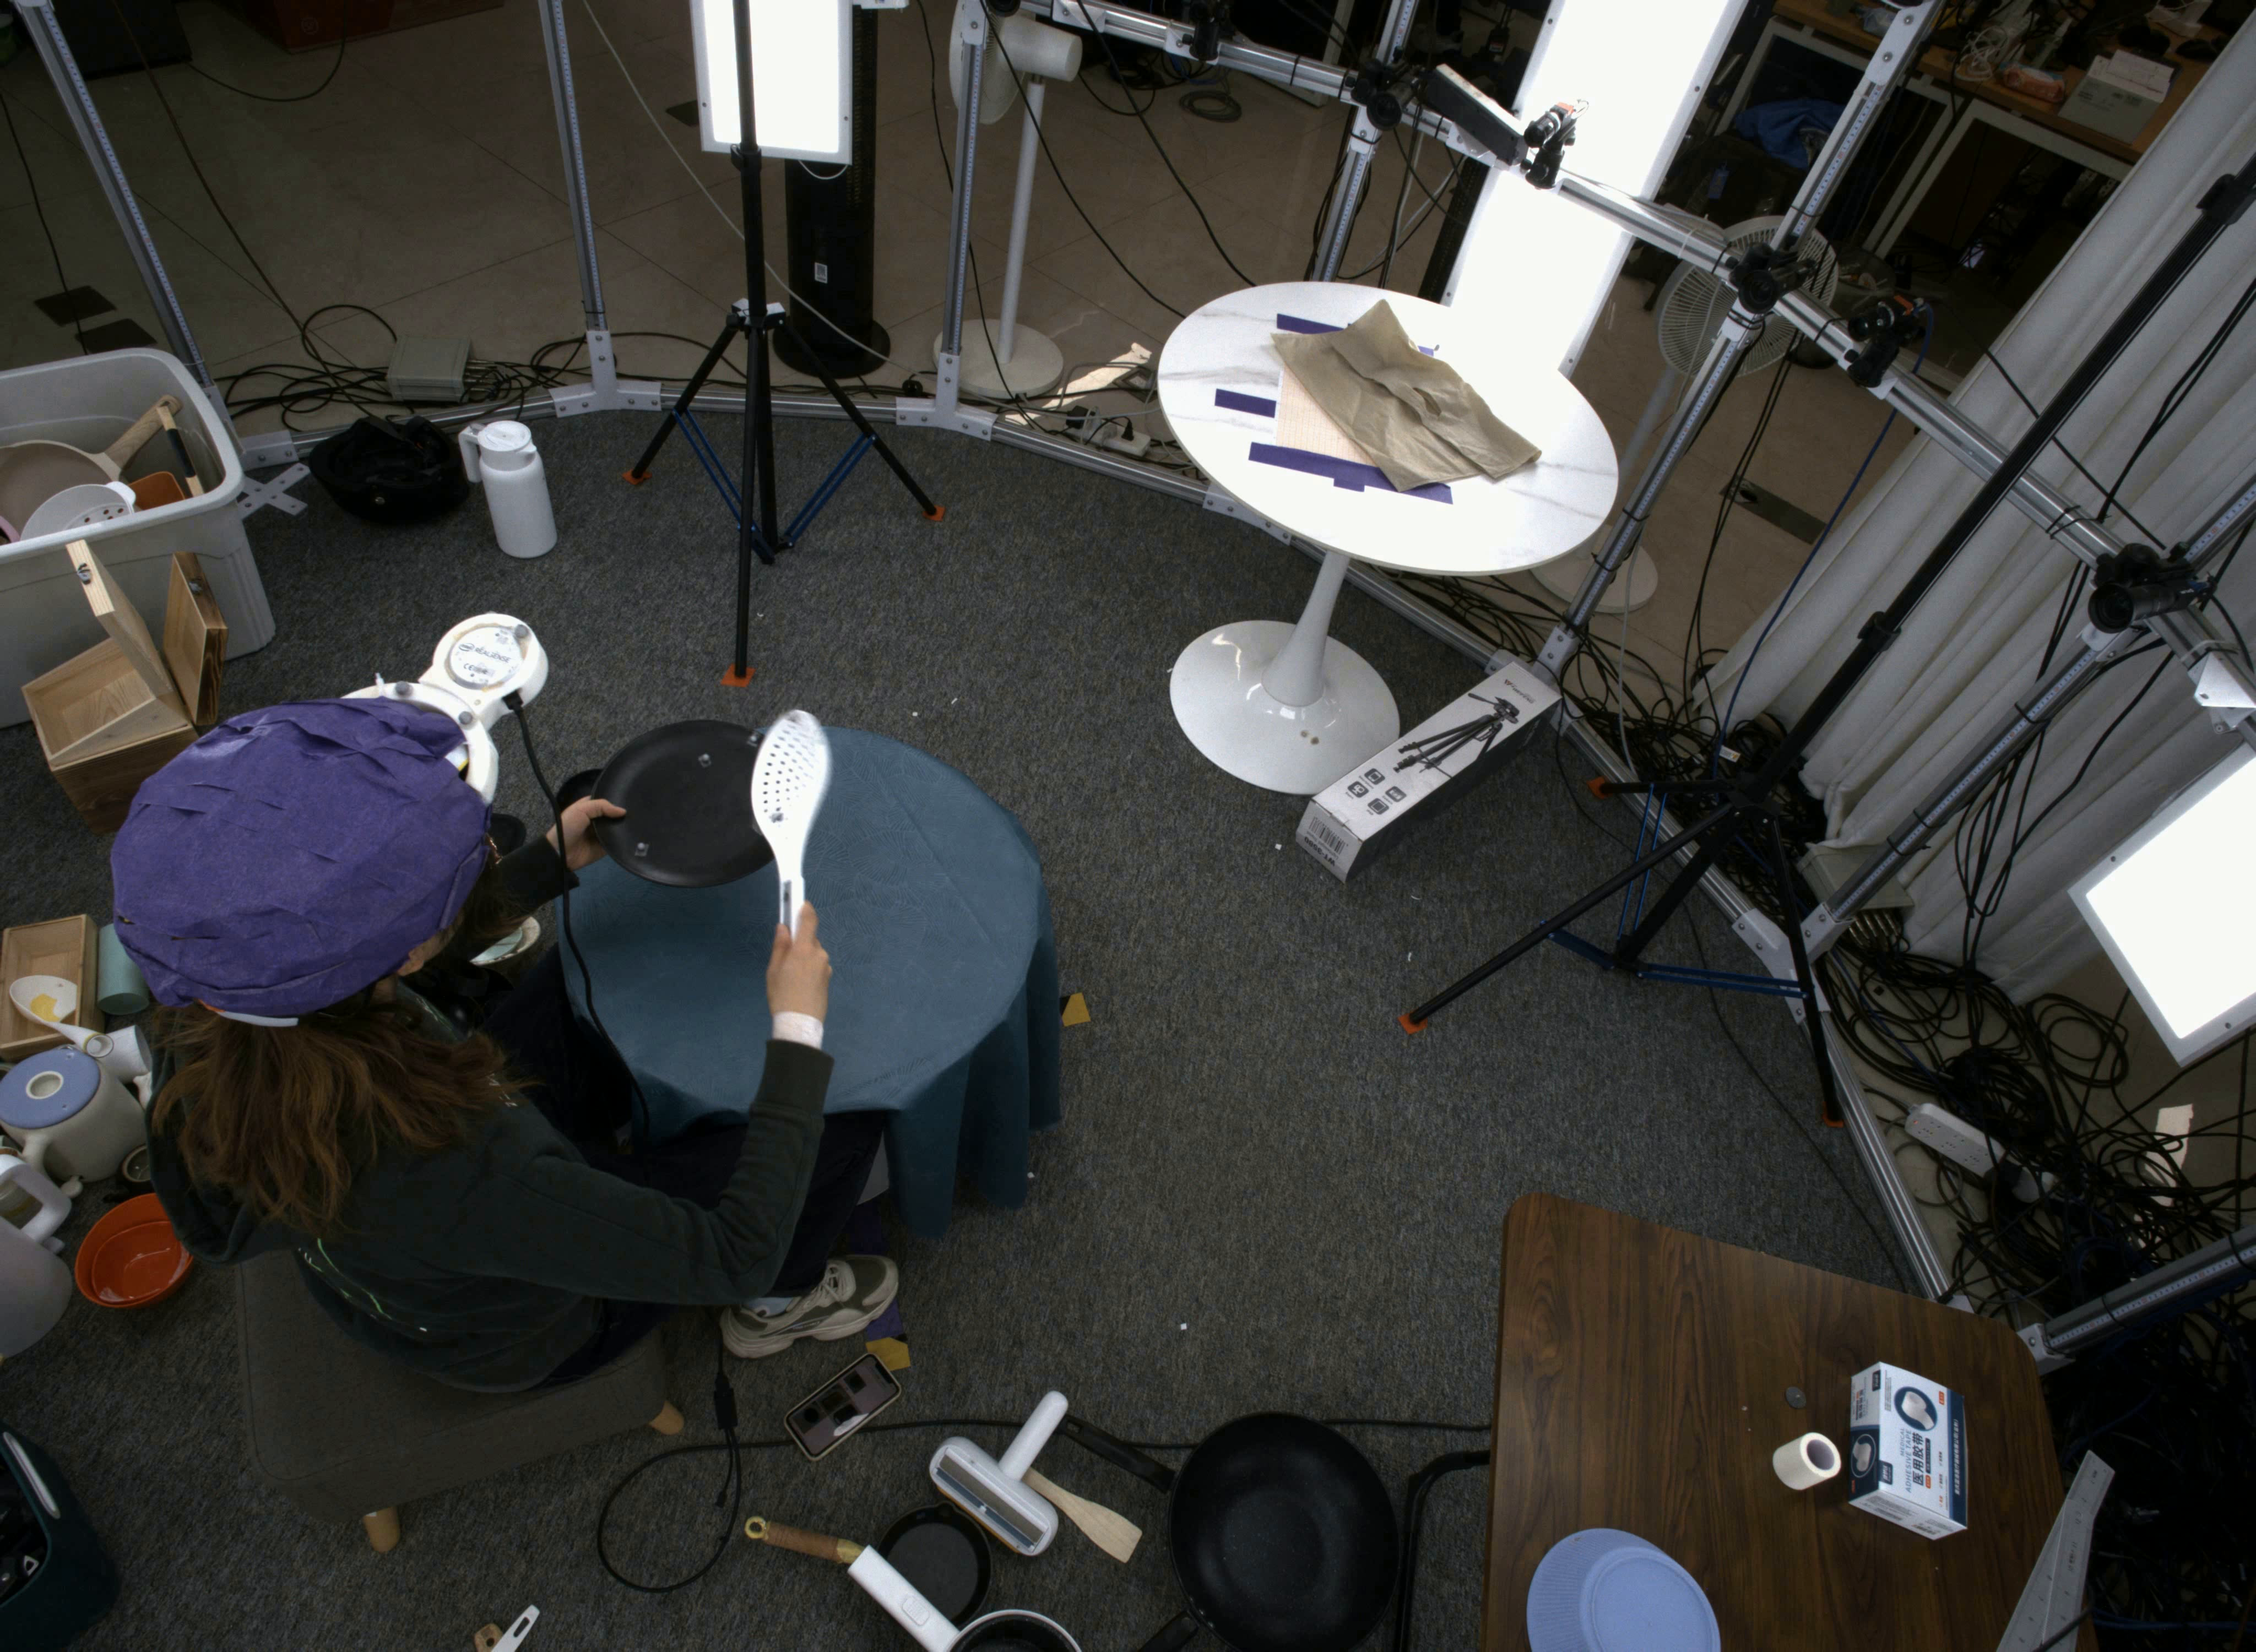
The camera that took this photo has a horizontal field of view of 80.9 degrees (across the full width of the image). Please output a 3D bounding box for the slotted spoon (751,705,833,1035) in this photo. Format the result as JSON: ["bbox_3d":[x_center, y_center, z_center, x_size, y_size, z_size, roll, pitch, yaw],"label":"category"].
[{"bbox_3d":[-0.351,0.040,1.350,0.047,0.133,0.346,24,57,-46],"label":"slotted spoon"}]

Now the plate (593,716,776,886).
[{"bbox_3d":[-0.508,-0.029,1.517,0.244,0.024,0.240,7,56,-9],"label":"plate"}]
